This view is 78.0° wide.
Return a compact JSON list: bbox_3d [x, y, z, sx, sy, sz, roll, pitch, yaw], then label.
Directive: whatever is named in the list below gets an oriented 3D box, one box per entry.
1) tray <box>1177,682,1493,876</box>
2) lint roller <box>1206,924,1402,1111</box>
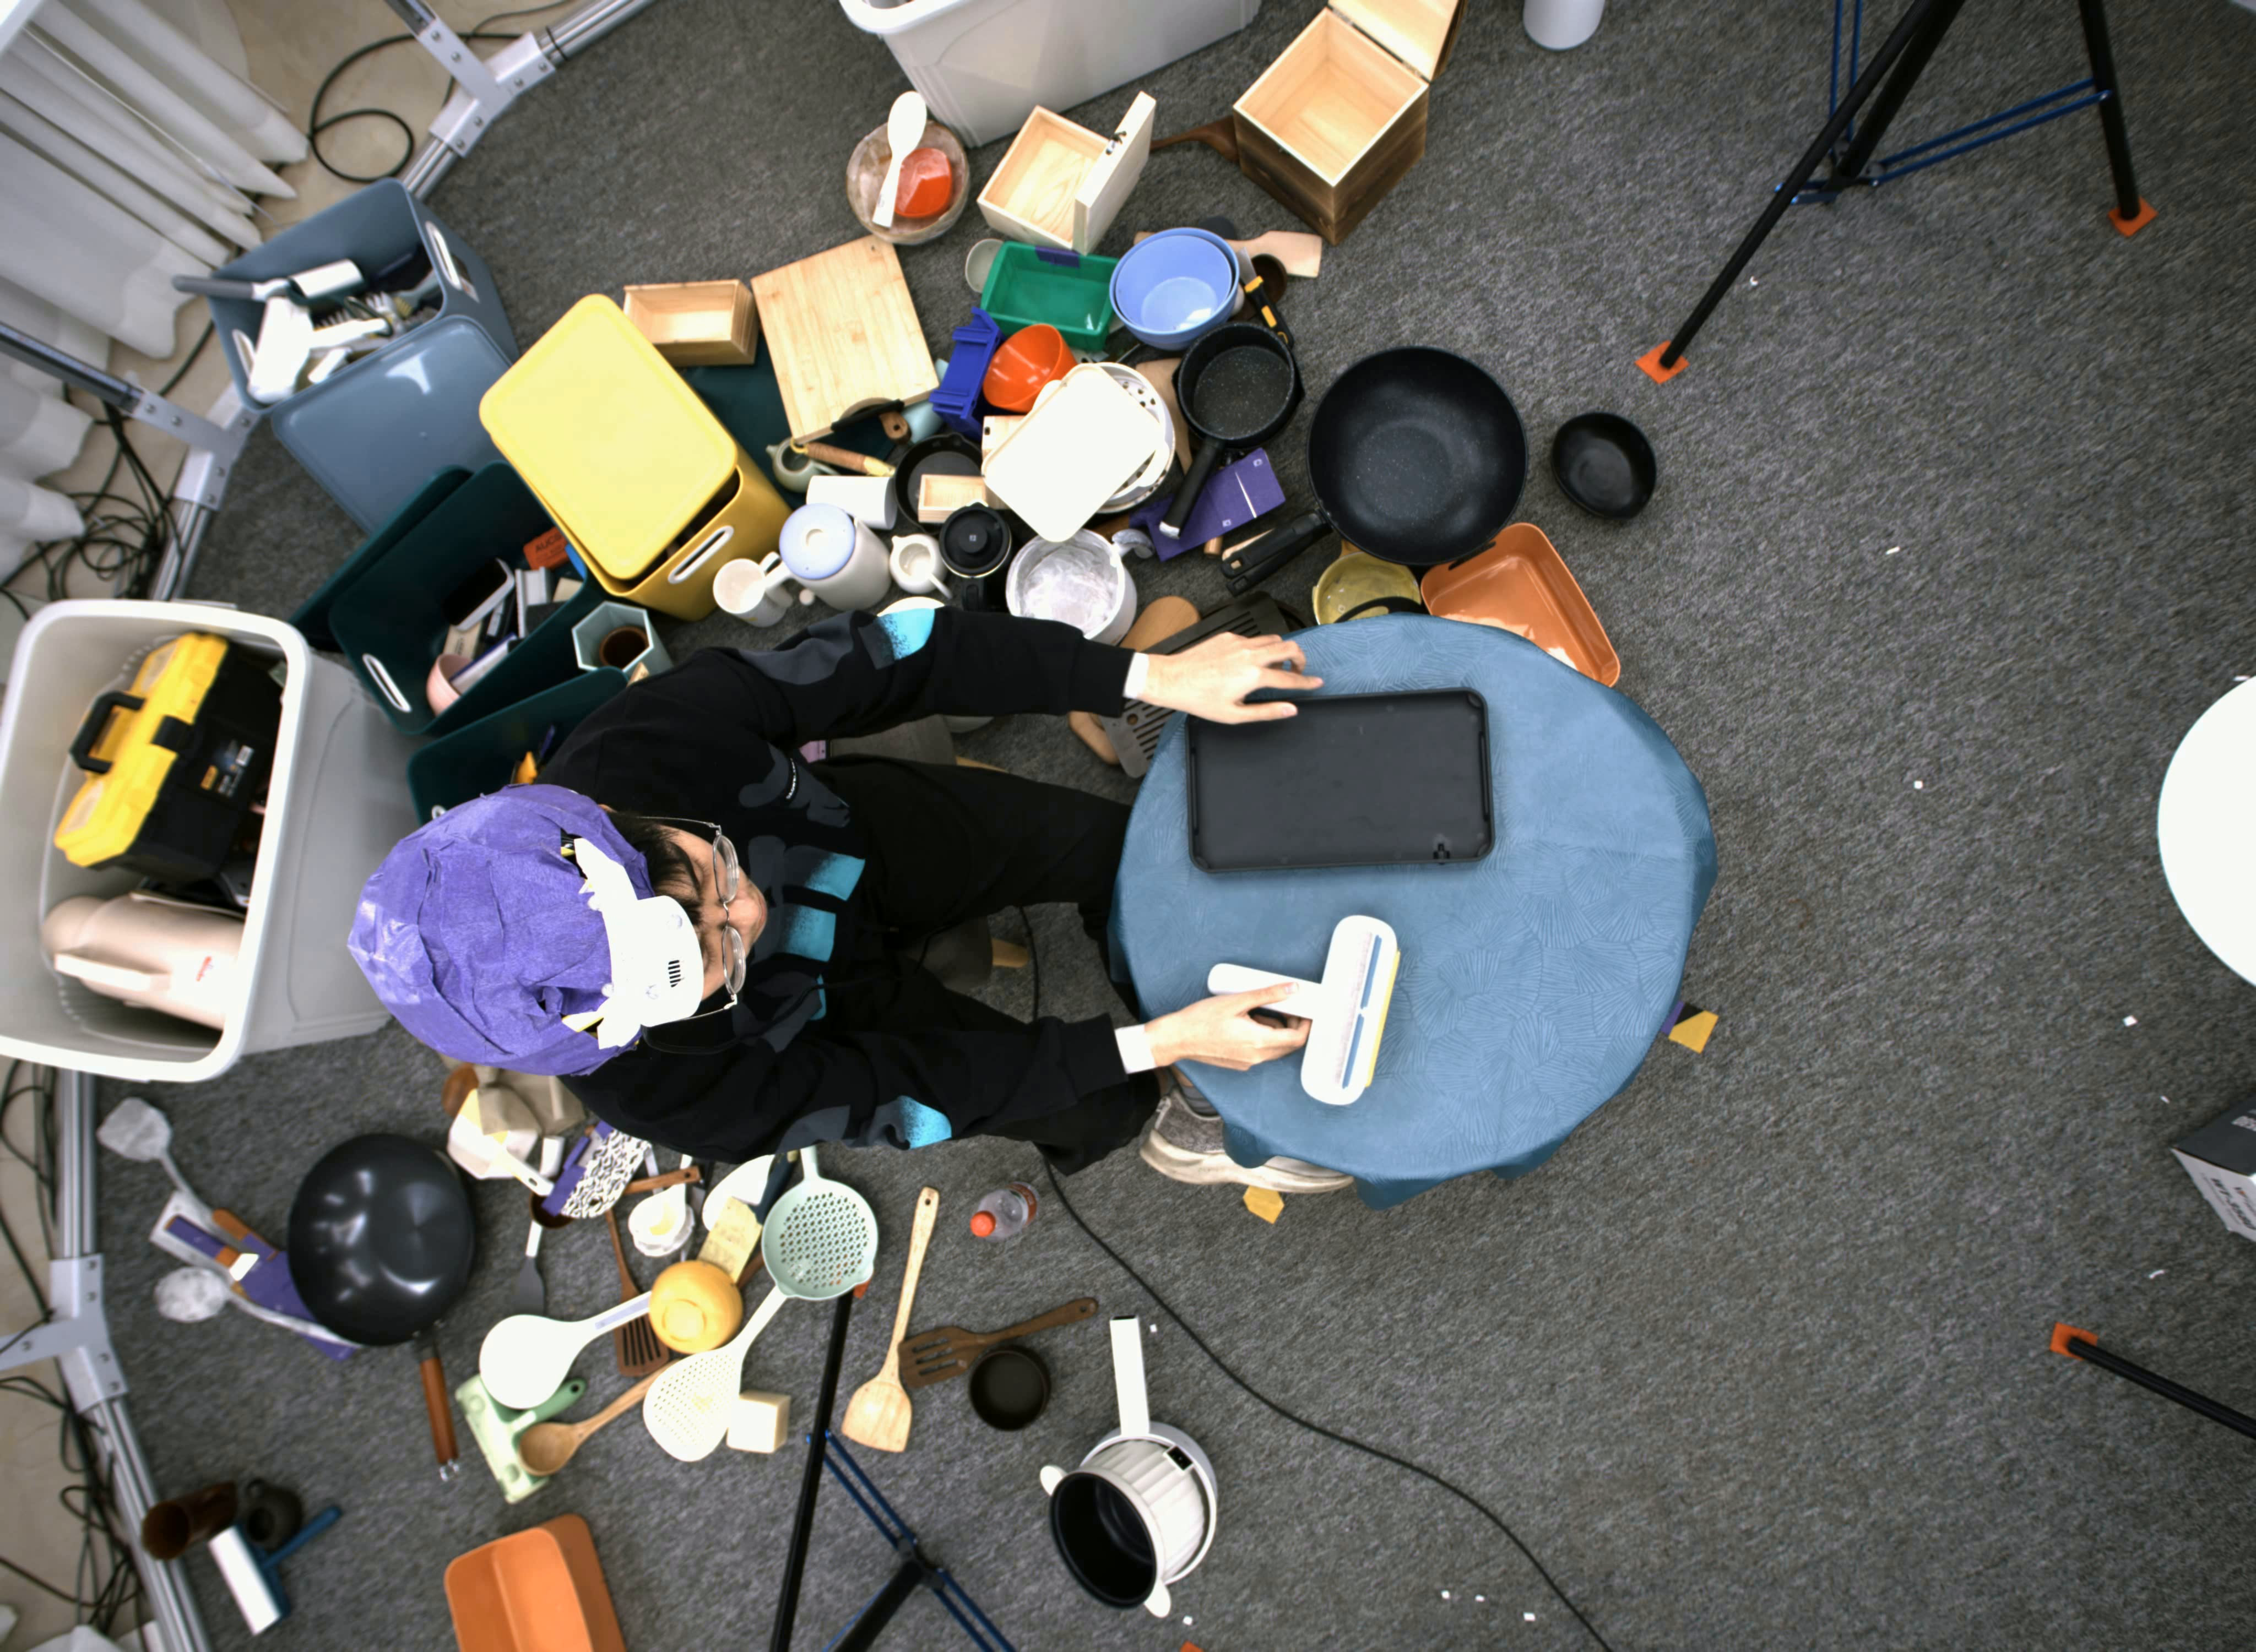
[{"bbox_3d":[0.216,-0.048,1.453,0.319,0.037,0.183,-4,87,10],"label":"tray"},{"bbox_3d":[0.171,0.179,1.432,0.192,0.074,0.192,16,89,11],"label":"lint roller"}]
